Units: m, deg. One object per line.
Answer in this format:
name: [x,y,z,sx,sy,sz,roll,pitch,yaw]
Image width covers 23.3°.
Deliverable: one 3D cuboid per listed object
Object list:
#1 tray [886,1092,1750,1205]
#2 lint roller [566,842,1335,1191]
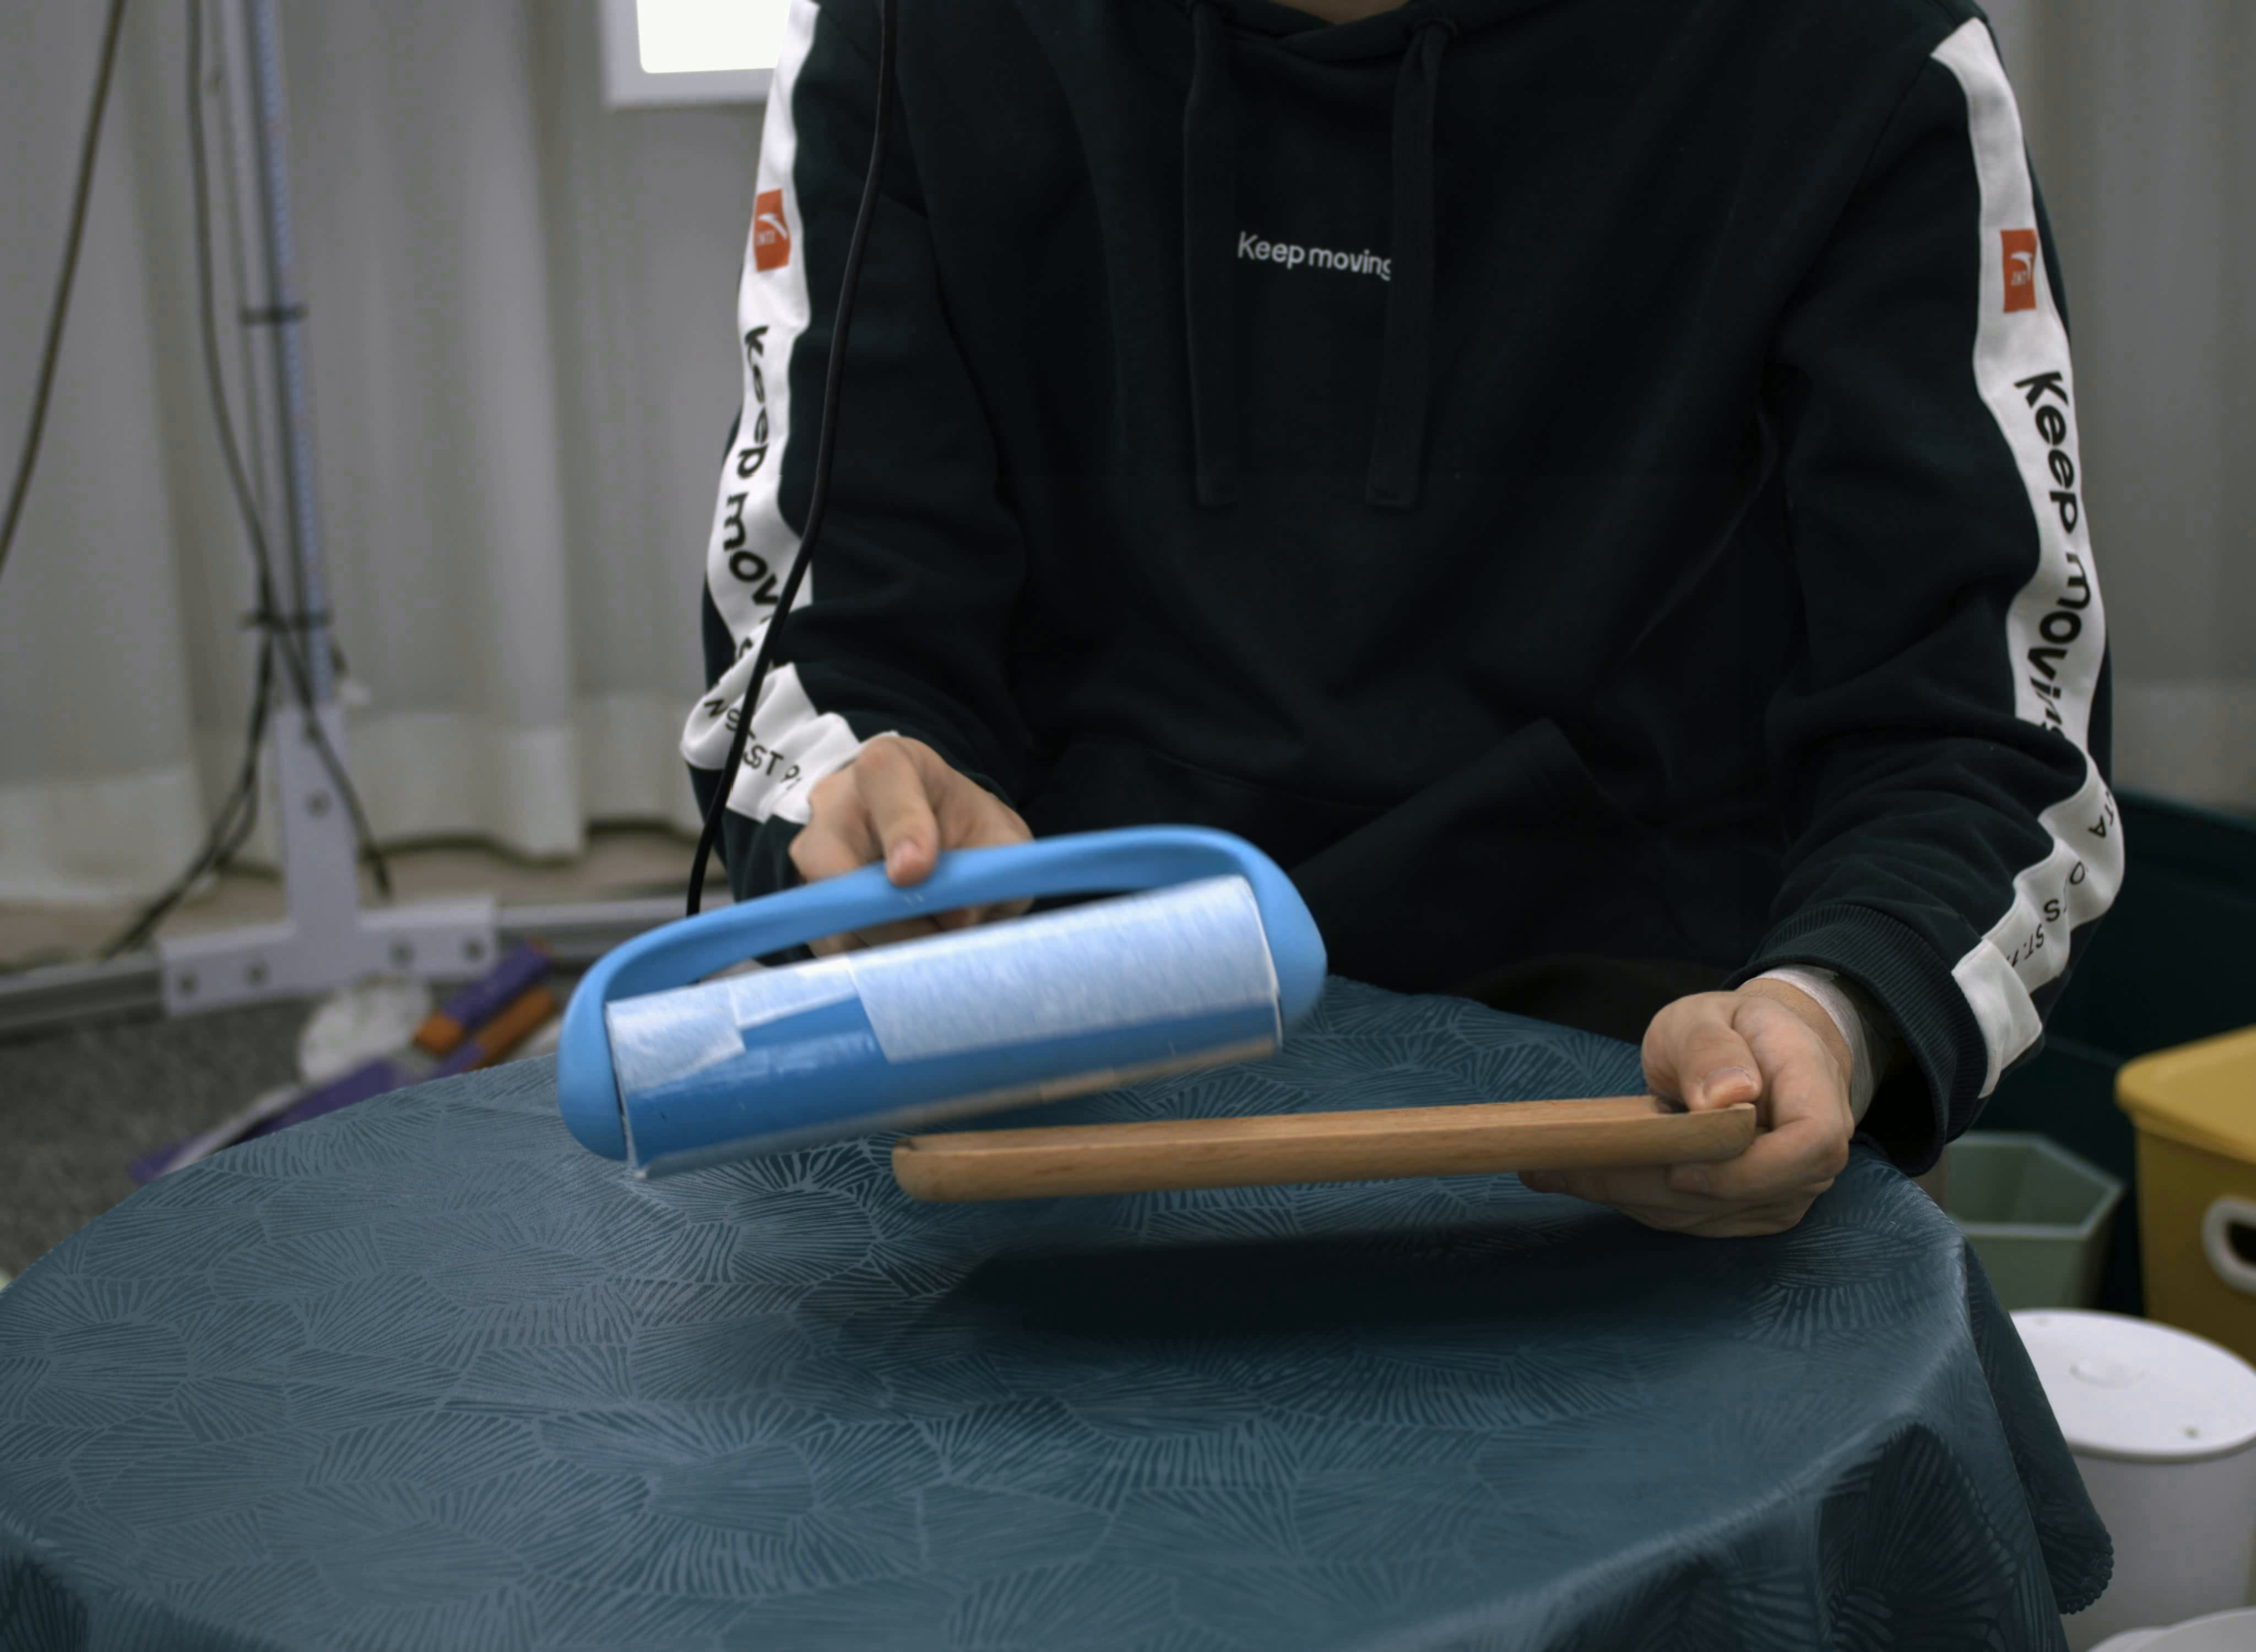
tray: [0.055,0.095,1.608,0.250,0.023,0.130,-4,-3,0]
lint roller: [-0.062,0.044,1.659,0.228,0.067,0.182,-13,19,-7]
